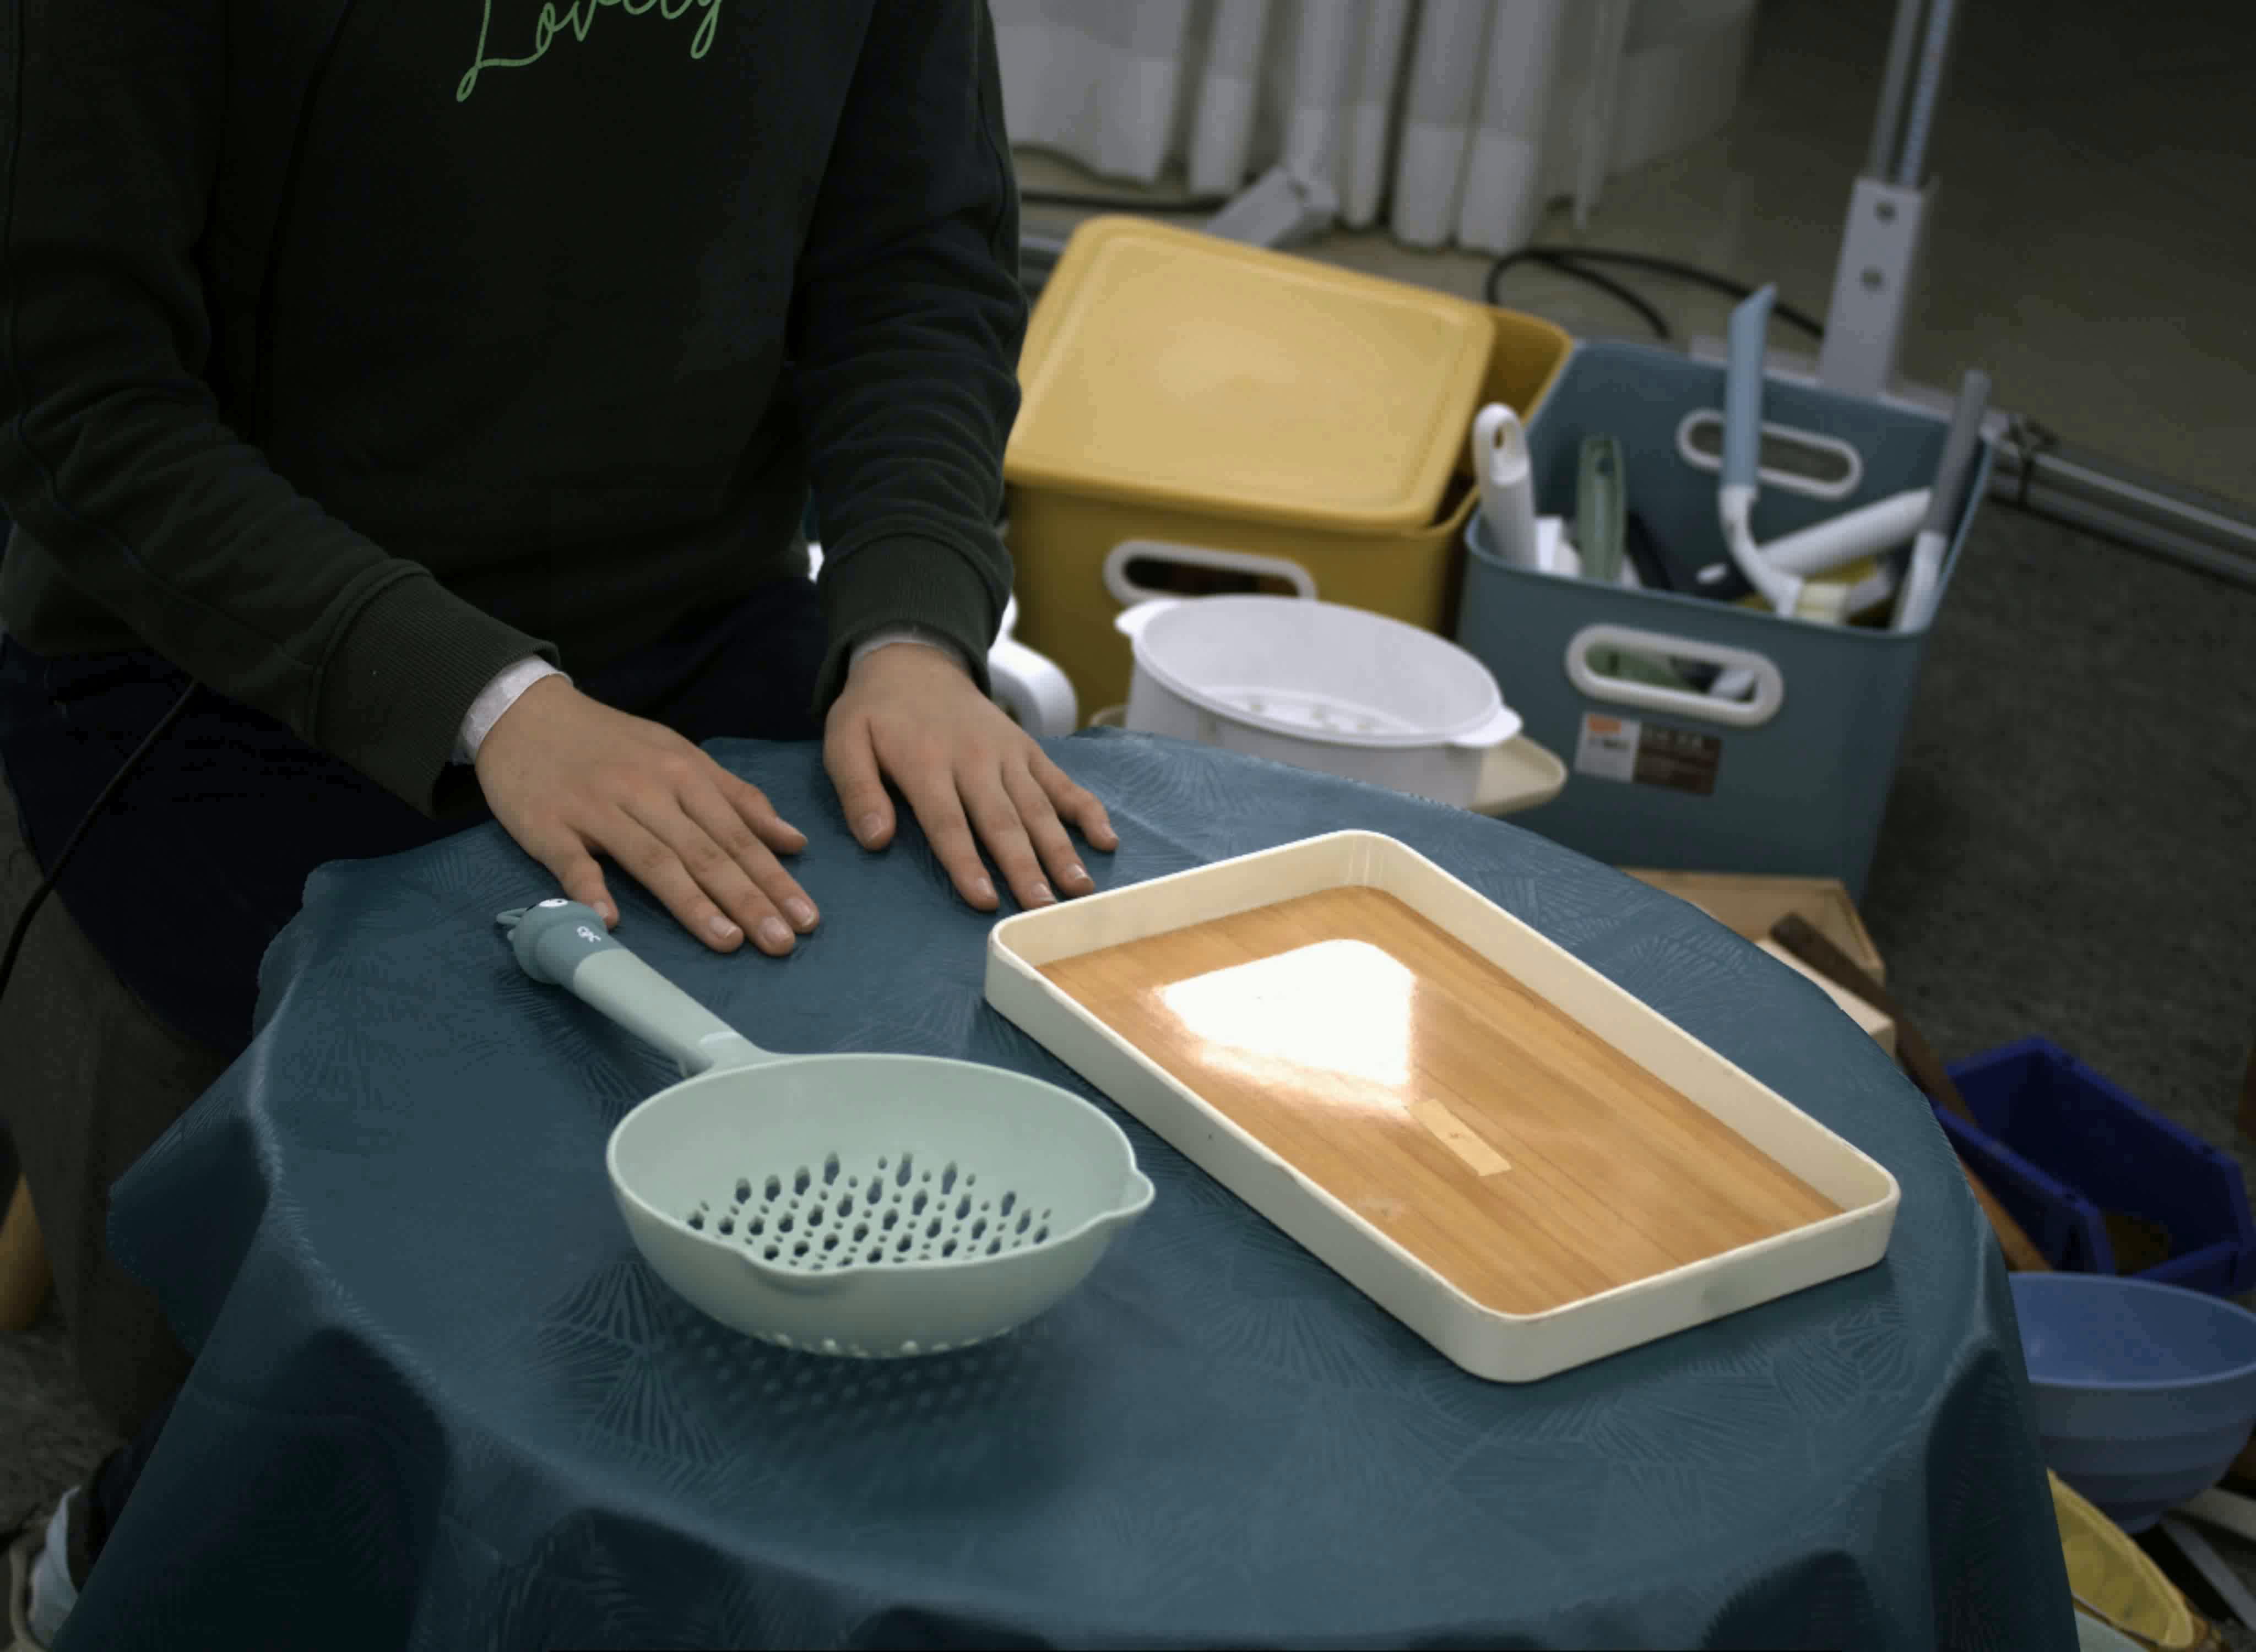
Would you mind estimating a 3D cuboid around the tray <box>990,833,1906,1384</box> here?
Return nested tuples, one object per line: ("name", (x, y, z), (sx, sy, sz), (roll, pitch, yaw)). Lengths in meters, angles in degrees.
("tray", (0.107, 0.092, 1.858), (0.190, 0.027, 0.303), (-13, 33, -34))

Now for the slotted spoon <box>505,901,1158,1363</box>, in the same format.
("slotted spoon", (-0.130, 0.086, 1.774), (0.168, 0.075, 0.362), (-9, 30, -29))
